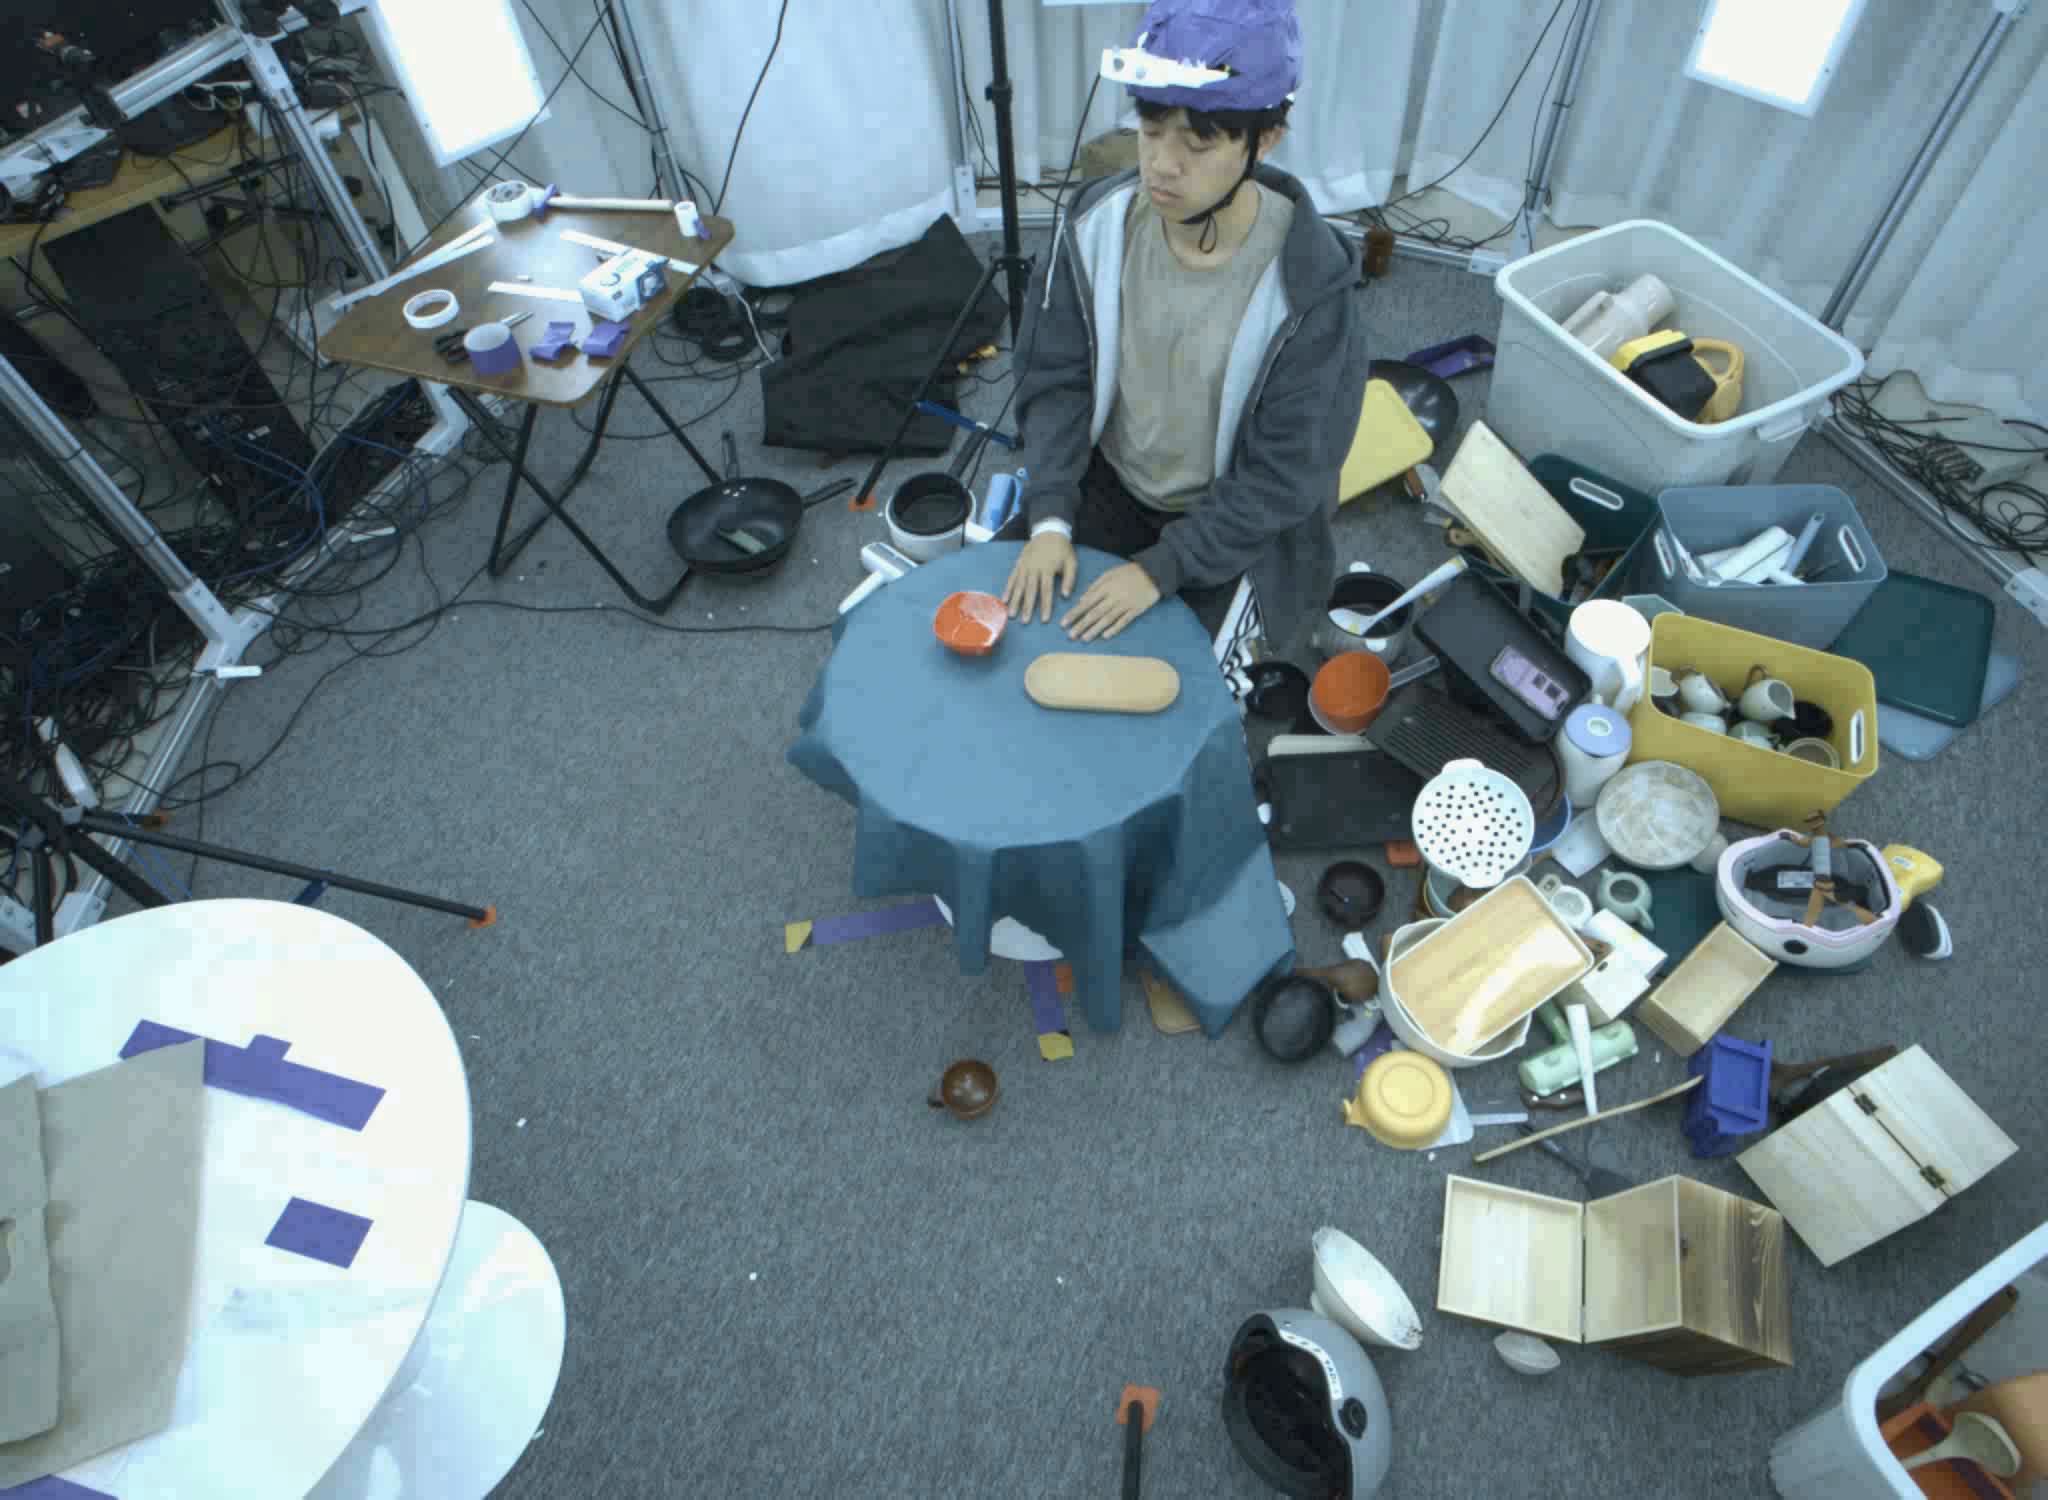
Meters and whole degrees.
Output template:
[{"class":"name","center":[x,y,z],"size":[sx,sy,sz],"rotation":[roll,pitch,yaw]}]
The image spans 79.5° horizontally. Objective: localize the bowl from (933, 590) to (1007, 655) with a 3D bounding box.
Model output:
[{"class":"bowl","center":[-0.081,-0.189,1.893],"size":[0.119,0.052,0.118],"rotation":[-1,56,3]}]

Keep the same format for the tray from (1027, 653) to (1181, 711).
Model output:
[{"class":"tray","center":[0.120,-0.101,1.848],"size":[0.231,0.020,0.101],"rotation":[3,56,3]}]
